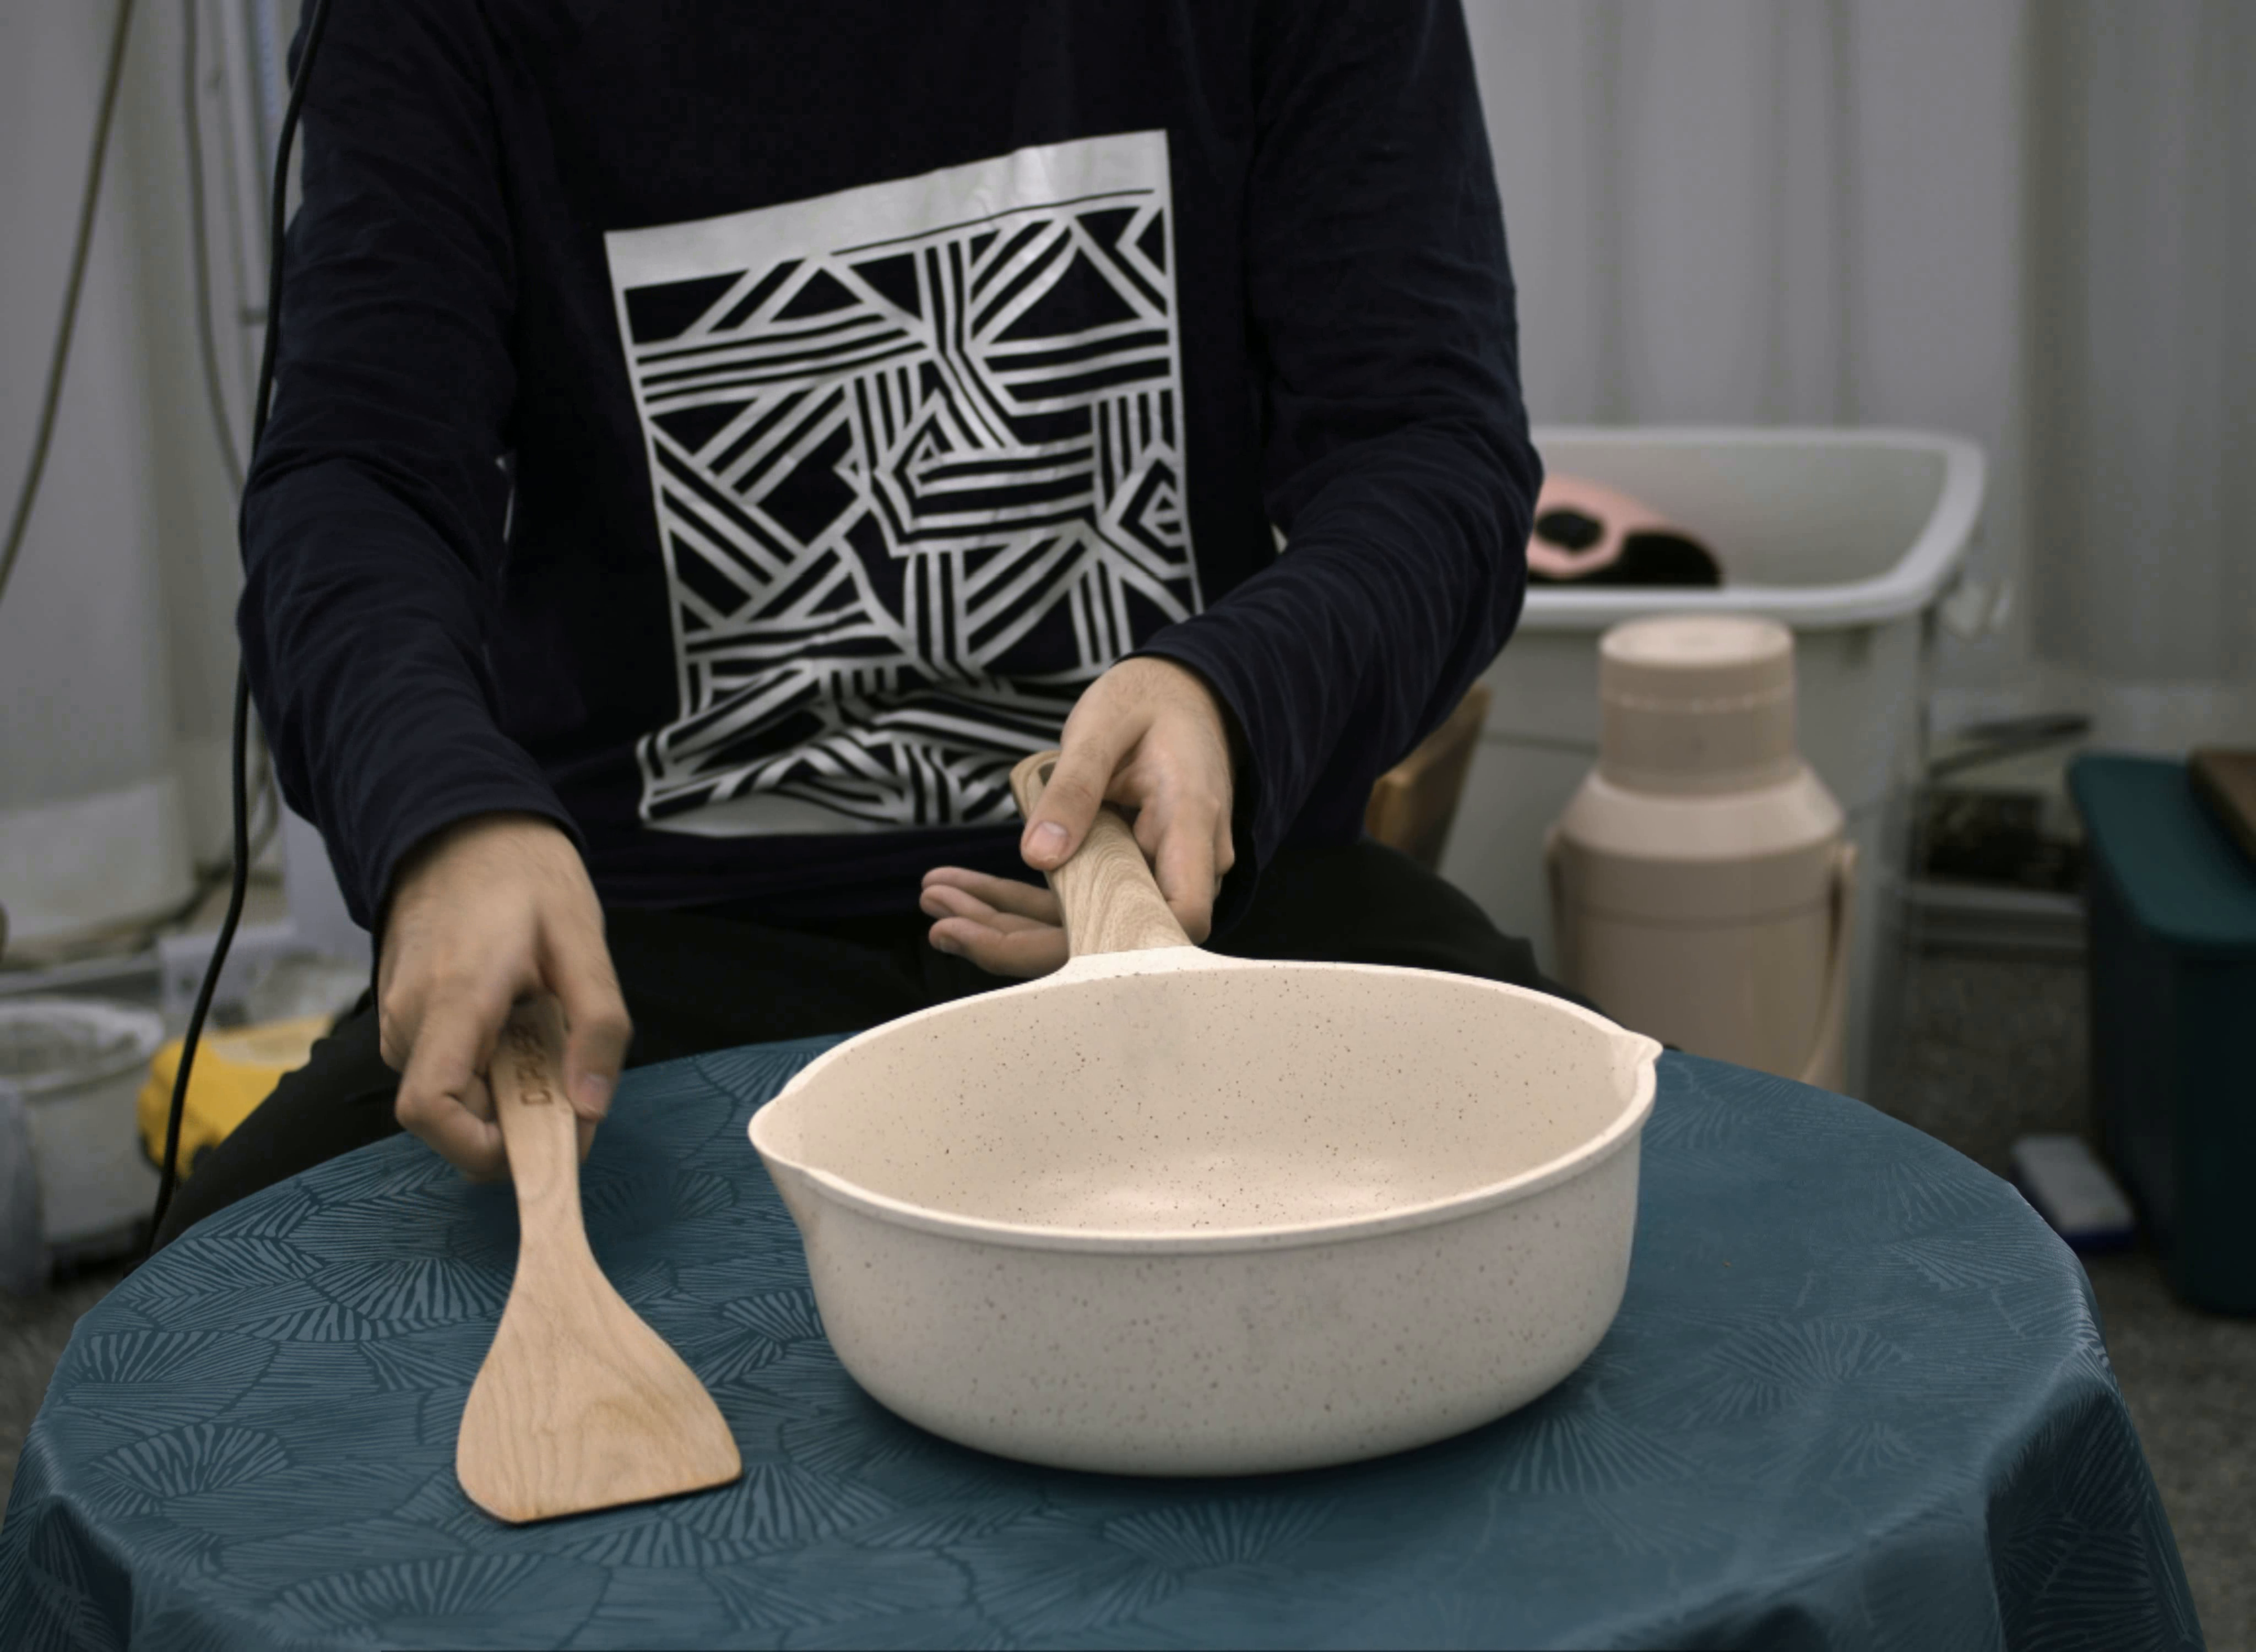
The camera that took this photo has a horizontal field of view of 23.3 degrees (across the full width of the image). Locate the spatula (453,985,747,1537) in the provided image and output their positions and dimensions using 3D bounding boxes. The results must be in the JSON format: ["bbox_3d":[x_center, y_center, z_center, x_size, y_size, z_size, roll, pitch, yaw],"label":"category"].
[{"bbox_3d":[-0.166,0.122,1.616,0.079,0.016,0.331,-5,27,-8],"label":"spatula"}]

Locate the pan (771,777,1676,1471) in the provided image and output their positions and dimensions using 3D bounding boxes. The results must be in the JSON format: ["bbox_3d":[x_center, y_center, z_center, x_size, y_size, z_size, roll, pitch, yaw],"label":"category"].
[{"bbox_3d":[0.015,0.084,1.647,0.262,0.101,0.438,-6,15,-9],"label":"pan"}]
